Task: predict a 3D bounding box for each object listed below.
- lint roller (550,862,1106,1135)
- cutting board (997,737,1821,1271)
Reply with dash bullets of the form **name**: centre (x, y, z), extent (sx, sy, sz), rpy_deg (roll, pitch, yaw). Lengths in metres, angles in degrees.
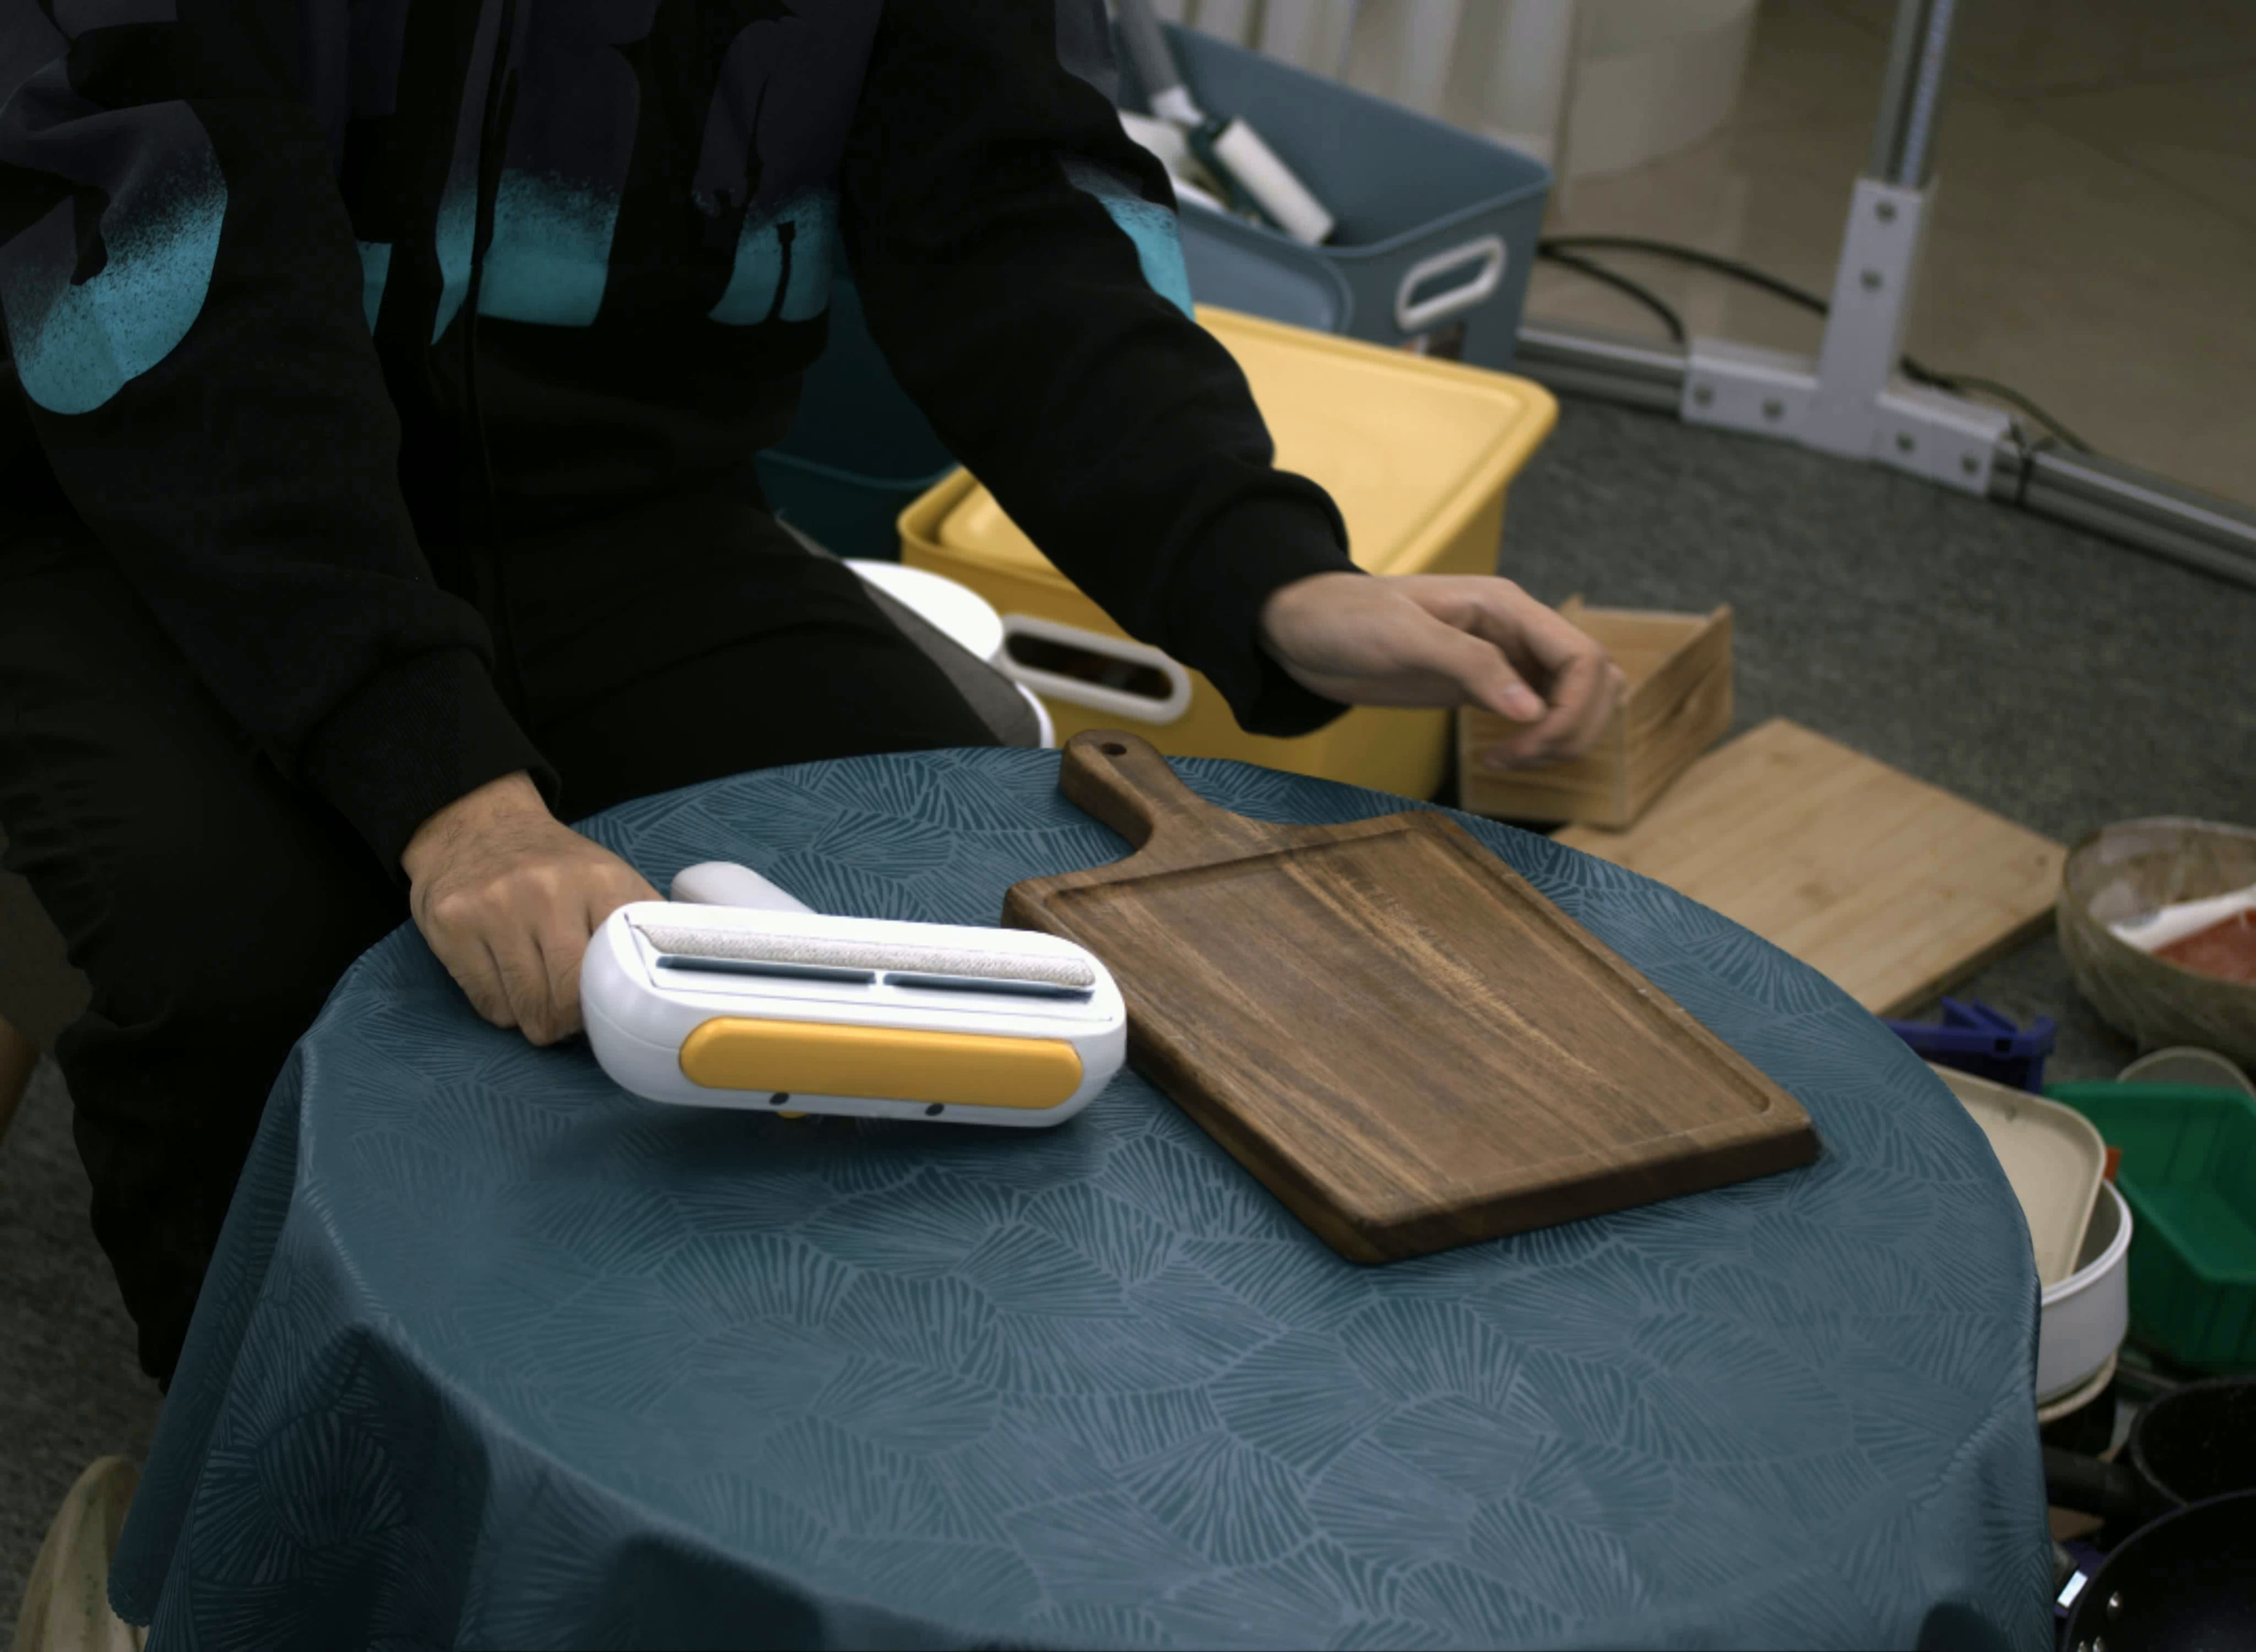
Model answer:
- **lint roller**: centre (-0.119, 0.045, 1.853), extent (0.191, 0.074, 0.194), rpy_deg (3, 25, -20)
- **cutting board**: centre (0.072, 0.050, 1.938), extent (0.200, 0.023, 0.355), rpy_deg (-11, 31, -29)
